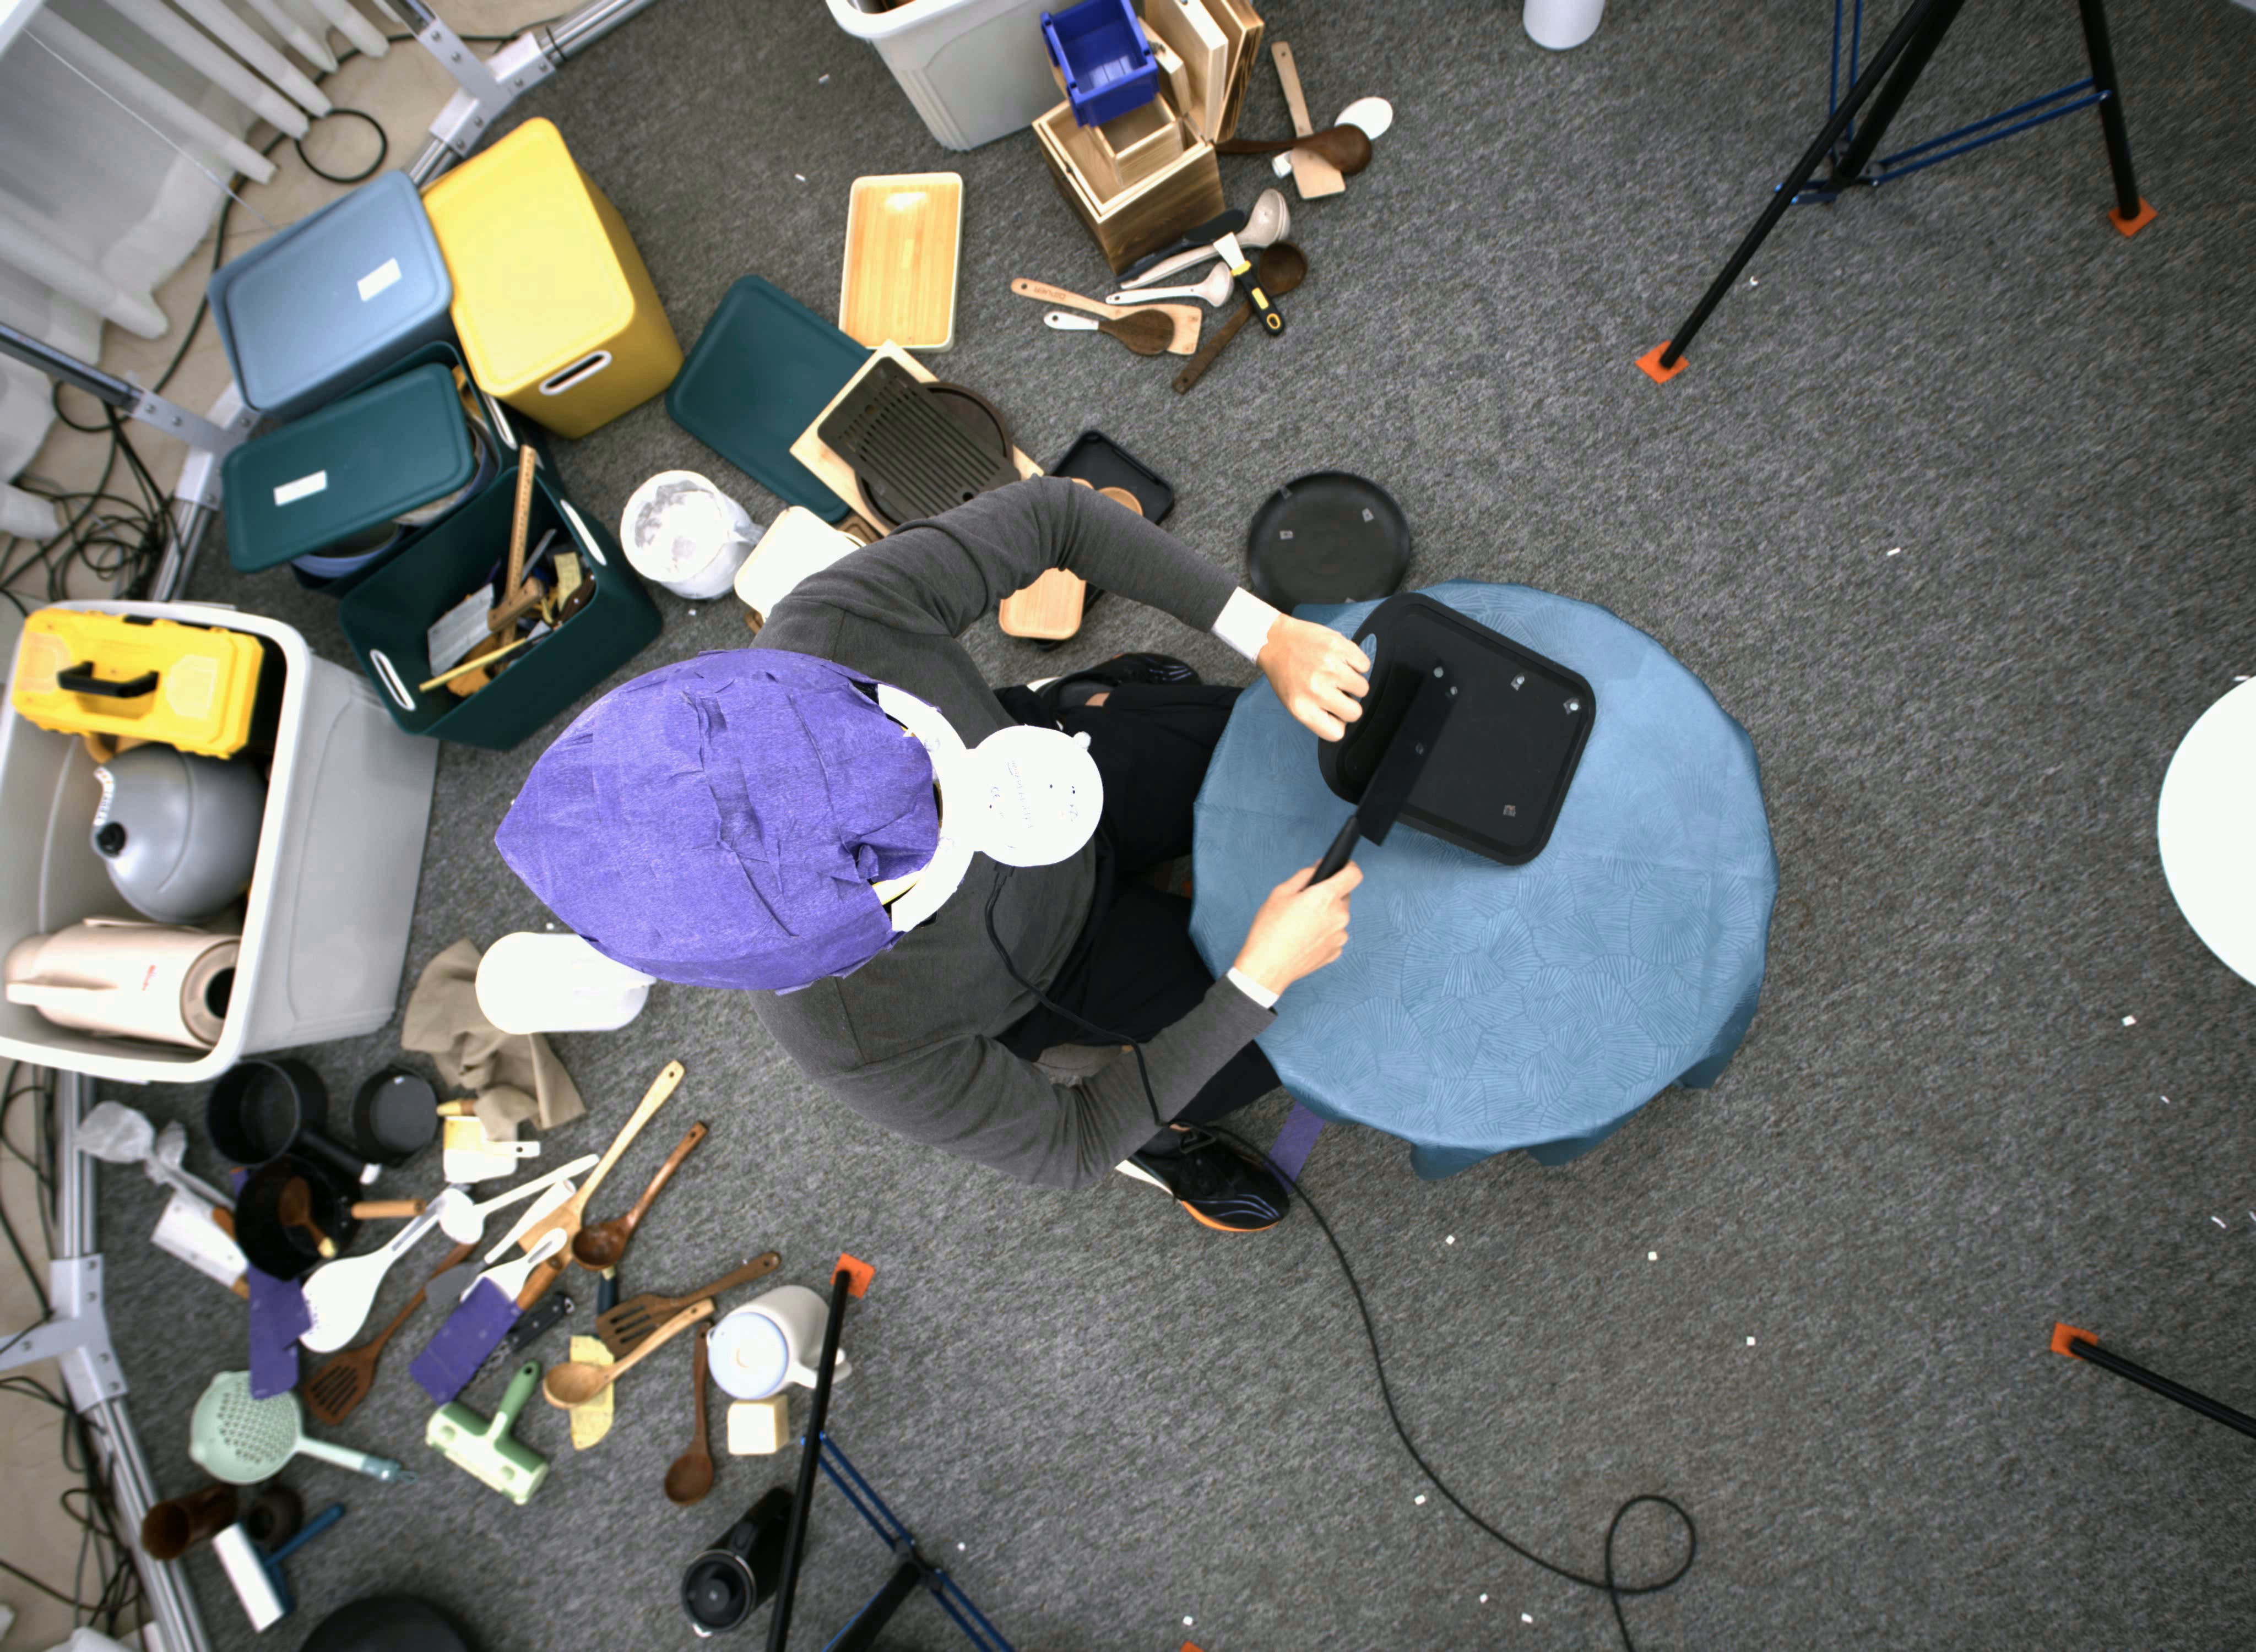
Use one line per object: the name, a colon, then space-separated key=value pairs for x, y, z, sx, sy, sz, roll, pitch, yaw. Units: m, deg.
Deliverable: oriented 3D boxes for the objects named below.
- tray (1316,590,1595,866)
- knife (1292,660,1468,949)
tray: x=0.325 y=-0.094 z=1.350 sx=0.326 sy=0.010 sz=0.212 roll=19 pitch=95 yaw=-27
knife: x=0.240 y=-0.018 z=1.308 sx=0.021 sy=0.081 sz=0.302 roll=31 pitch=89 yaw=44
